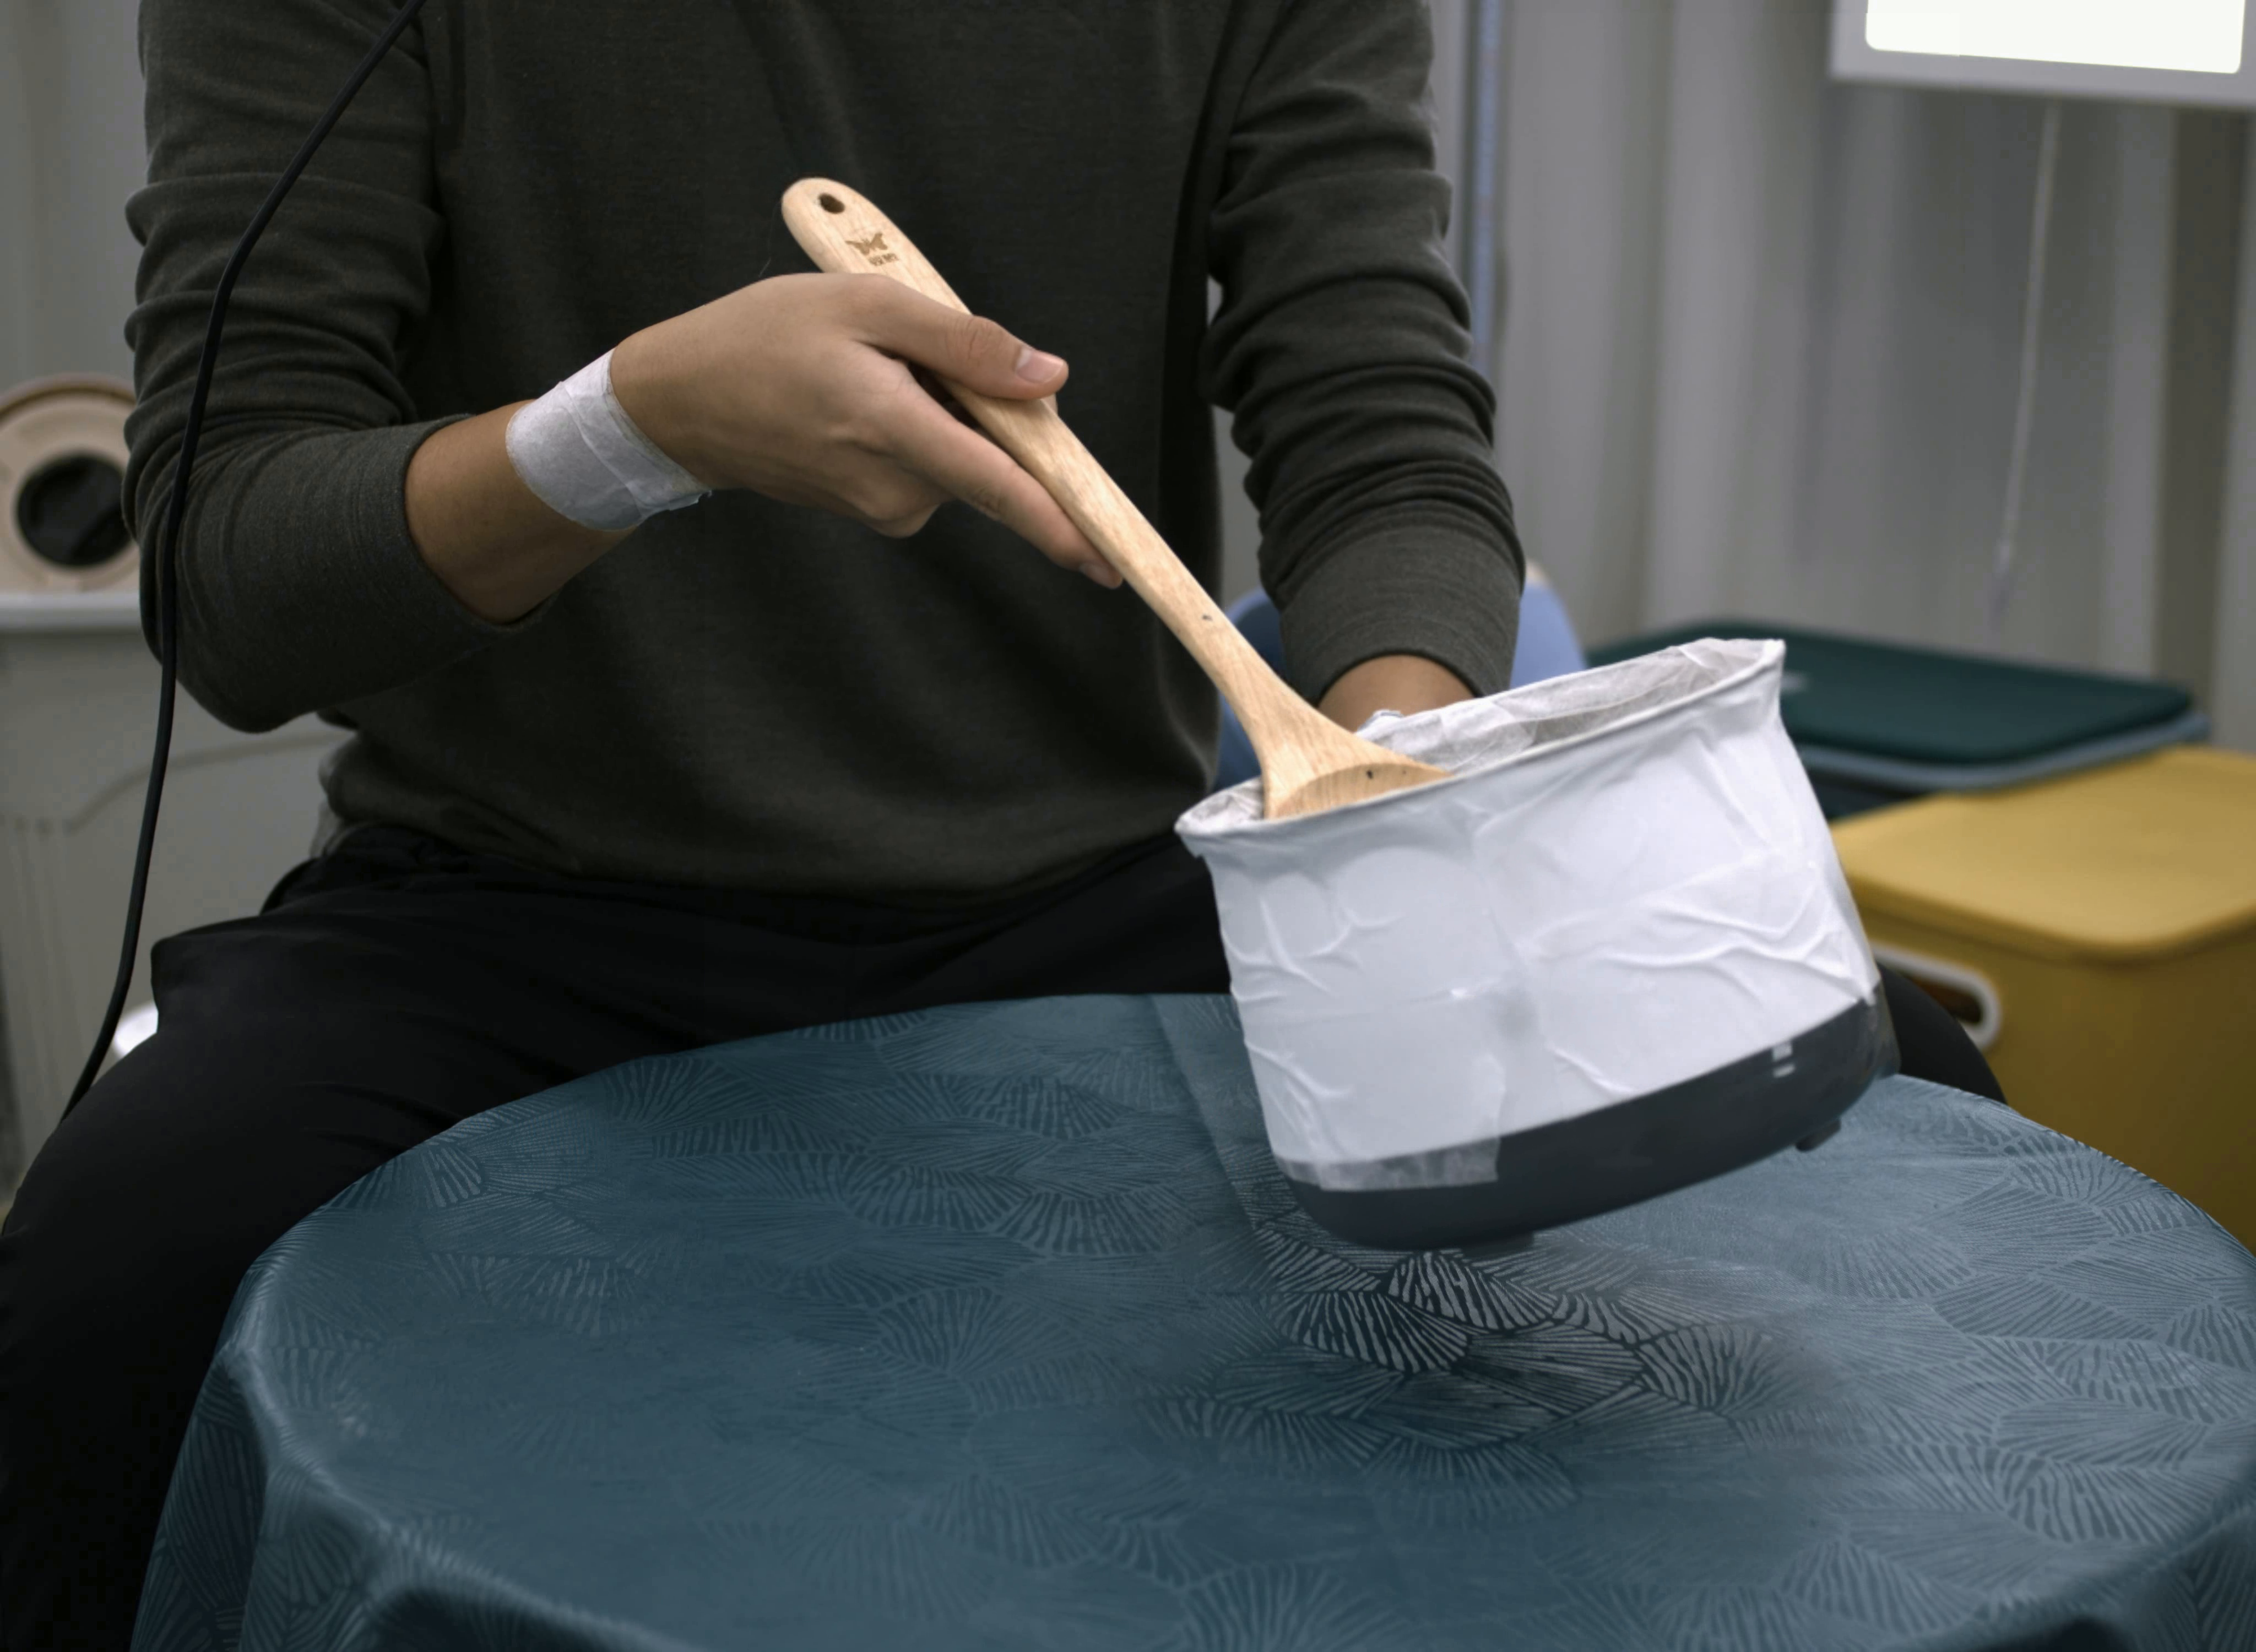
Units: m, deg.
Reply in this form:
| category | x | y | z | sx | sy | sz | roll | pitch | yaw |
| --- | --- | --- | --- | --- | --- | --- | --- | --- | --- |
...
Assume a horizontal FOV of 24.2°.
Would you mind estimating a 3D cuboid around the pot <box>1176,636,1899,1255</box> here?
| category | x | y | z | sx | sy | sz | roll | pitch | yaw |
| --- | --- | --- | --- | --- | --- | --- | --- | --- | --- |
| pot | 0.108 | 0.032 | 1.492 | 0.179 | 0.137 | 0.232 | -17 | 6 | -13 |

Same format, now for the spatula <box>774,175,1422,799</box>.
| category | x | y | z | sx | sy | sz | roll | pitch | yaw |
| --- | --- | --- | --- | --- | --- | --- | --- | --- | --- |
| spatula | -0.002 | -0.080 | 1.561 | 0.096 | 0.018 | 0.386 | -17 | 52 | -34 |
